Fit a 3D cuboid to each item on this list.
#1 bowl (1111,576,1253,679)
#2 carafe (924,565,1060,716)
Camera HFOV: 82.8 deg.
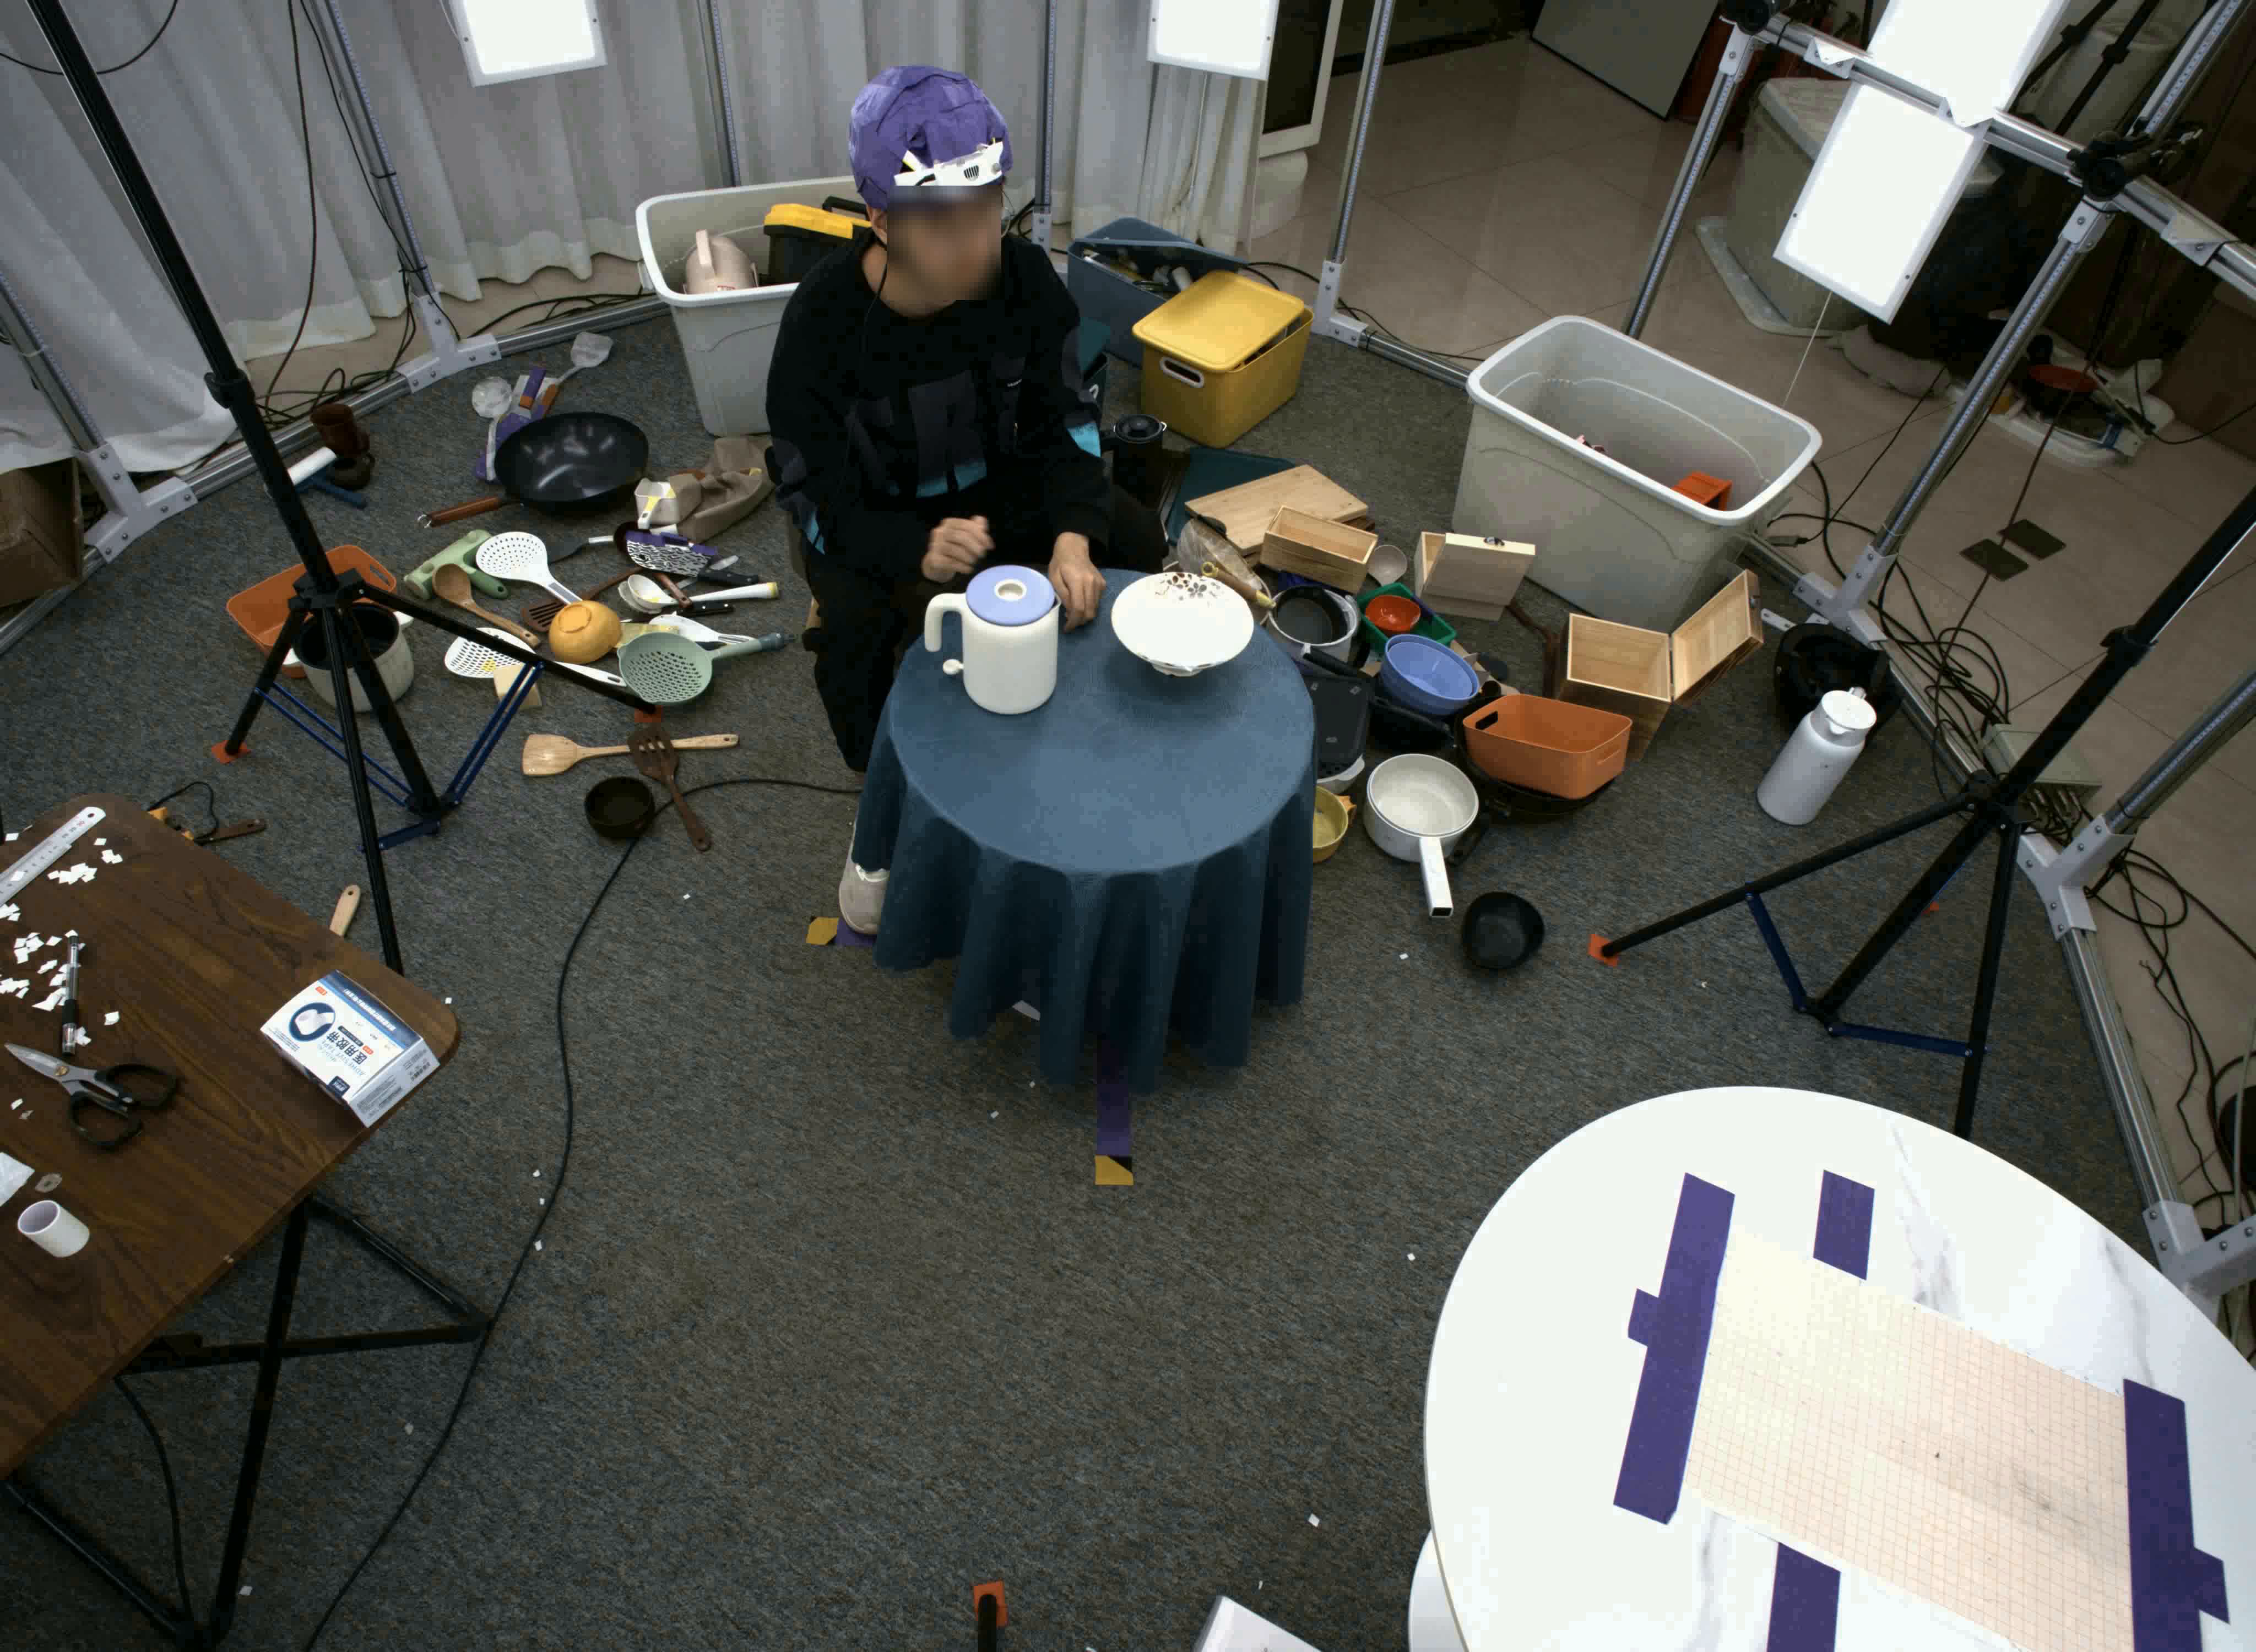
[{"bbox_3d":[0.076,-0.270,1.858,0.204,0.076,0.209,1,47,-2],"label":"bowl"},{"bbox_3d":[-0.186,-0.256,1.769,0.191,0.178,0.135,4,48,3],"label":"carafe"}]
